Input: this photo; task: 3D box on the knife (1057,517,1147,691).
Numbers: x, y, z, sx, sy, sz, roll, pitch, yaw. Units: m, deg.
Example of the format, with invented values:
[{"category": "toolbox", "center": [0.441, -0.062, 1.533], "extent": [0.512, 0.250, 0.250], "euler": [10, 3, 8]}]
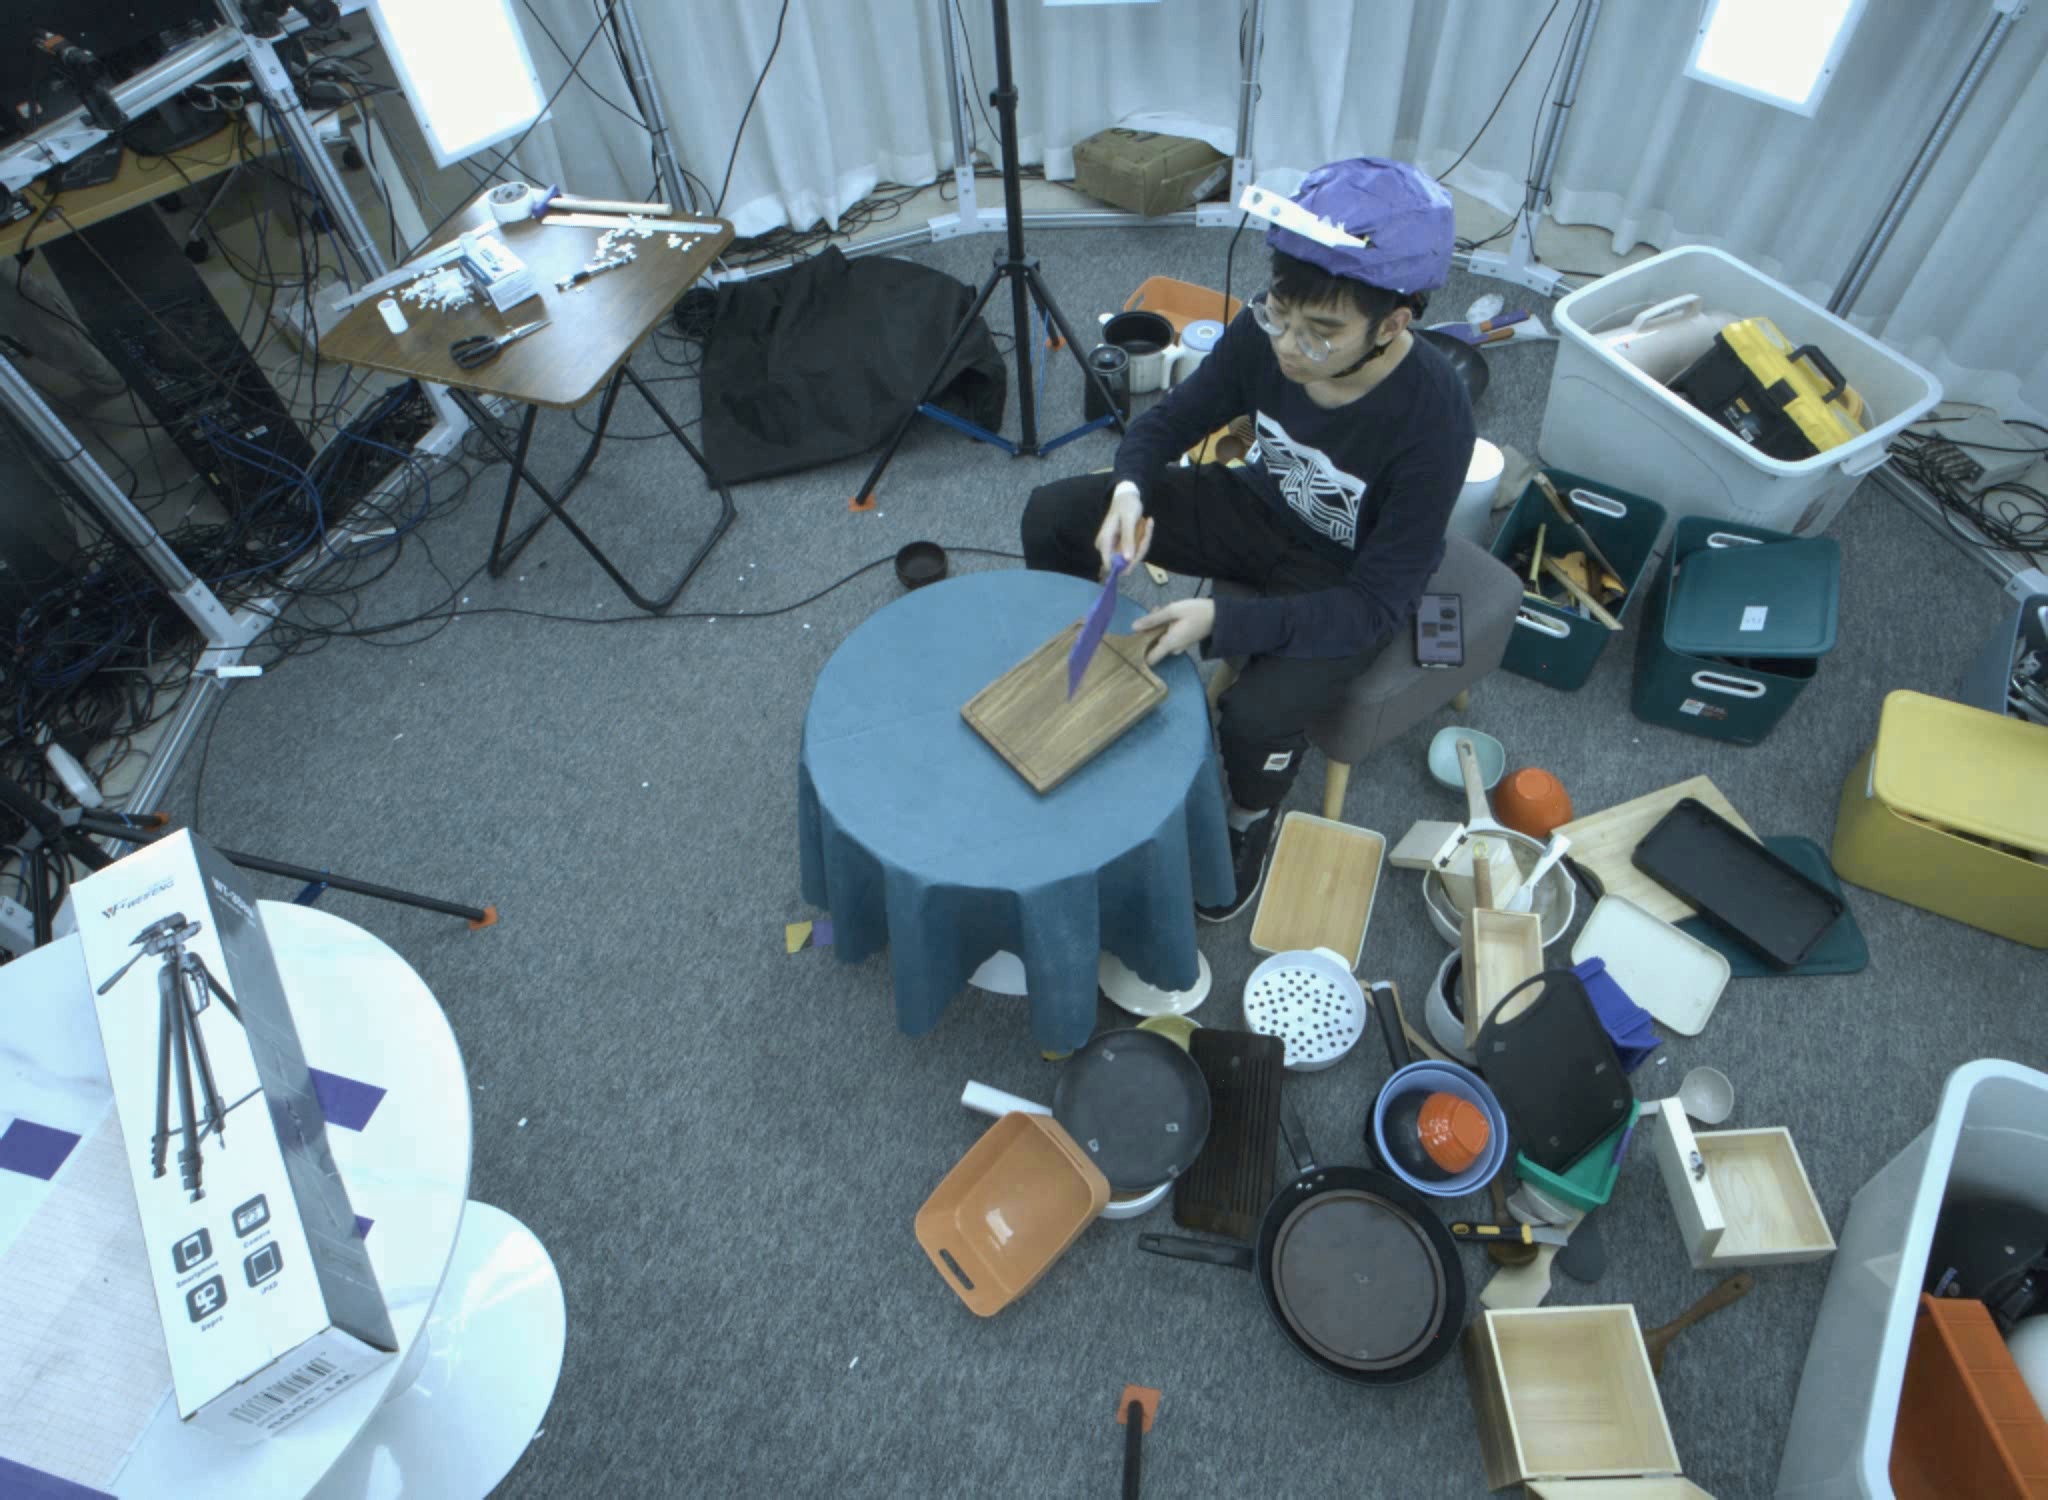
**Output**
[{"category": "knife", "center": [0.108, -0.213, 1.767], "extent": [0.032, 0.105, 0.315], "euler": [20, 51, 14]}]

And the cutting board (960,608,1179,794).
[{"category": "cutting board", "center": [0.096, -0.101, 1.826], "extent": [0.354, 0.023, 0.197], "euler": [-38, 61, -15]}]
